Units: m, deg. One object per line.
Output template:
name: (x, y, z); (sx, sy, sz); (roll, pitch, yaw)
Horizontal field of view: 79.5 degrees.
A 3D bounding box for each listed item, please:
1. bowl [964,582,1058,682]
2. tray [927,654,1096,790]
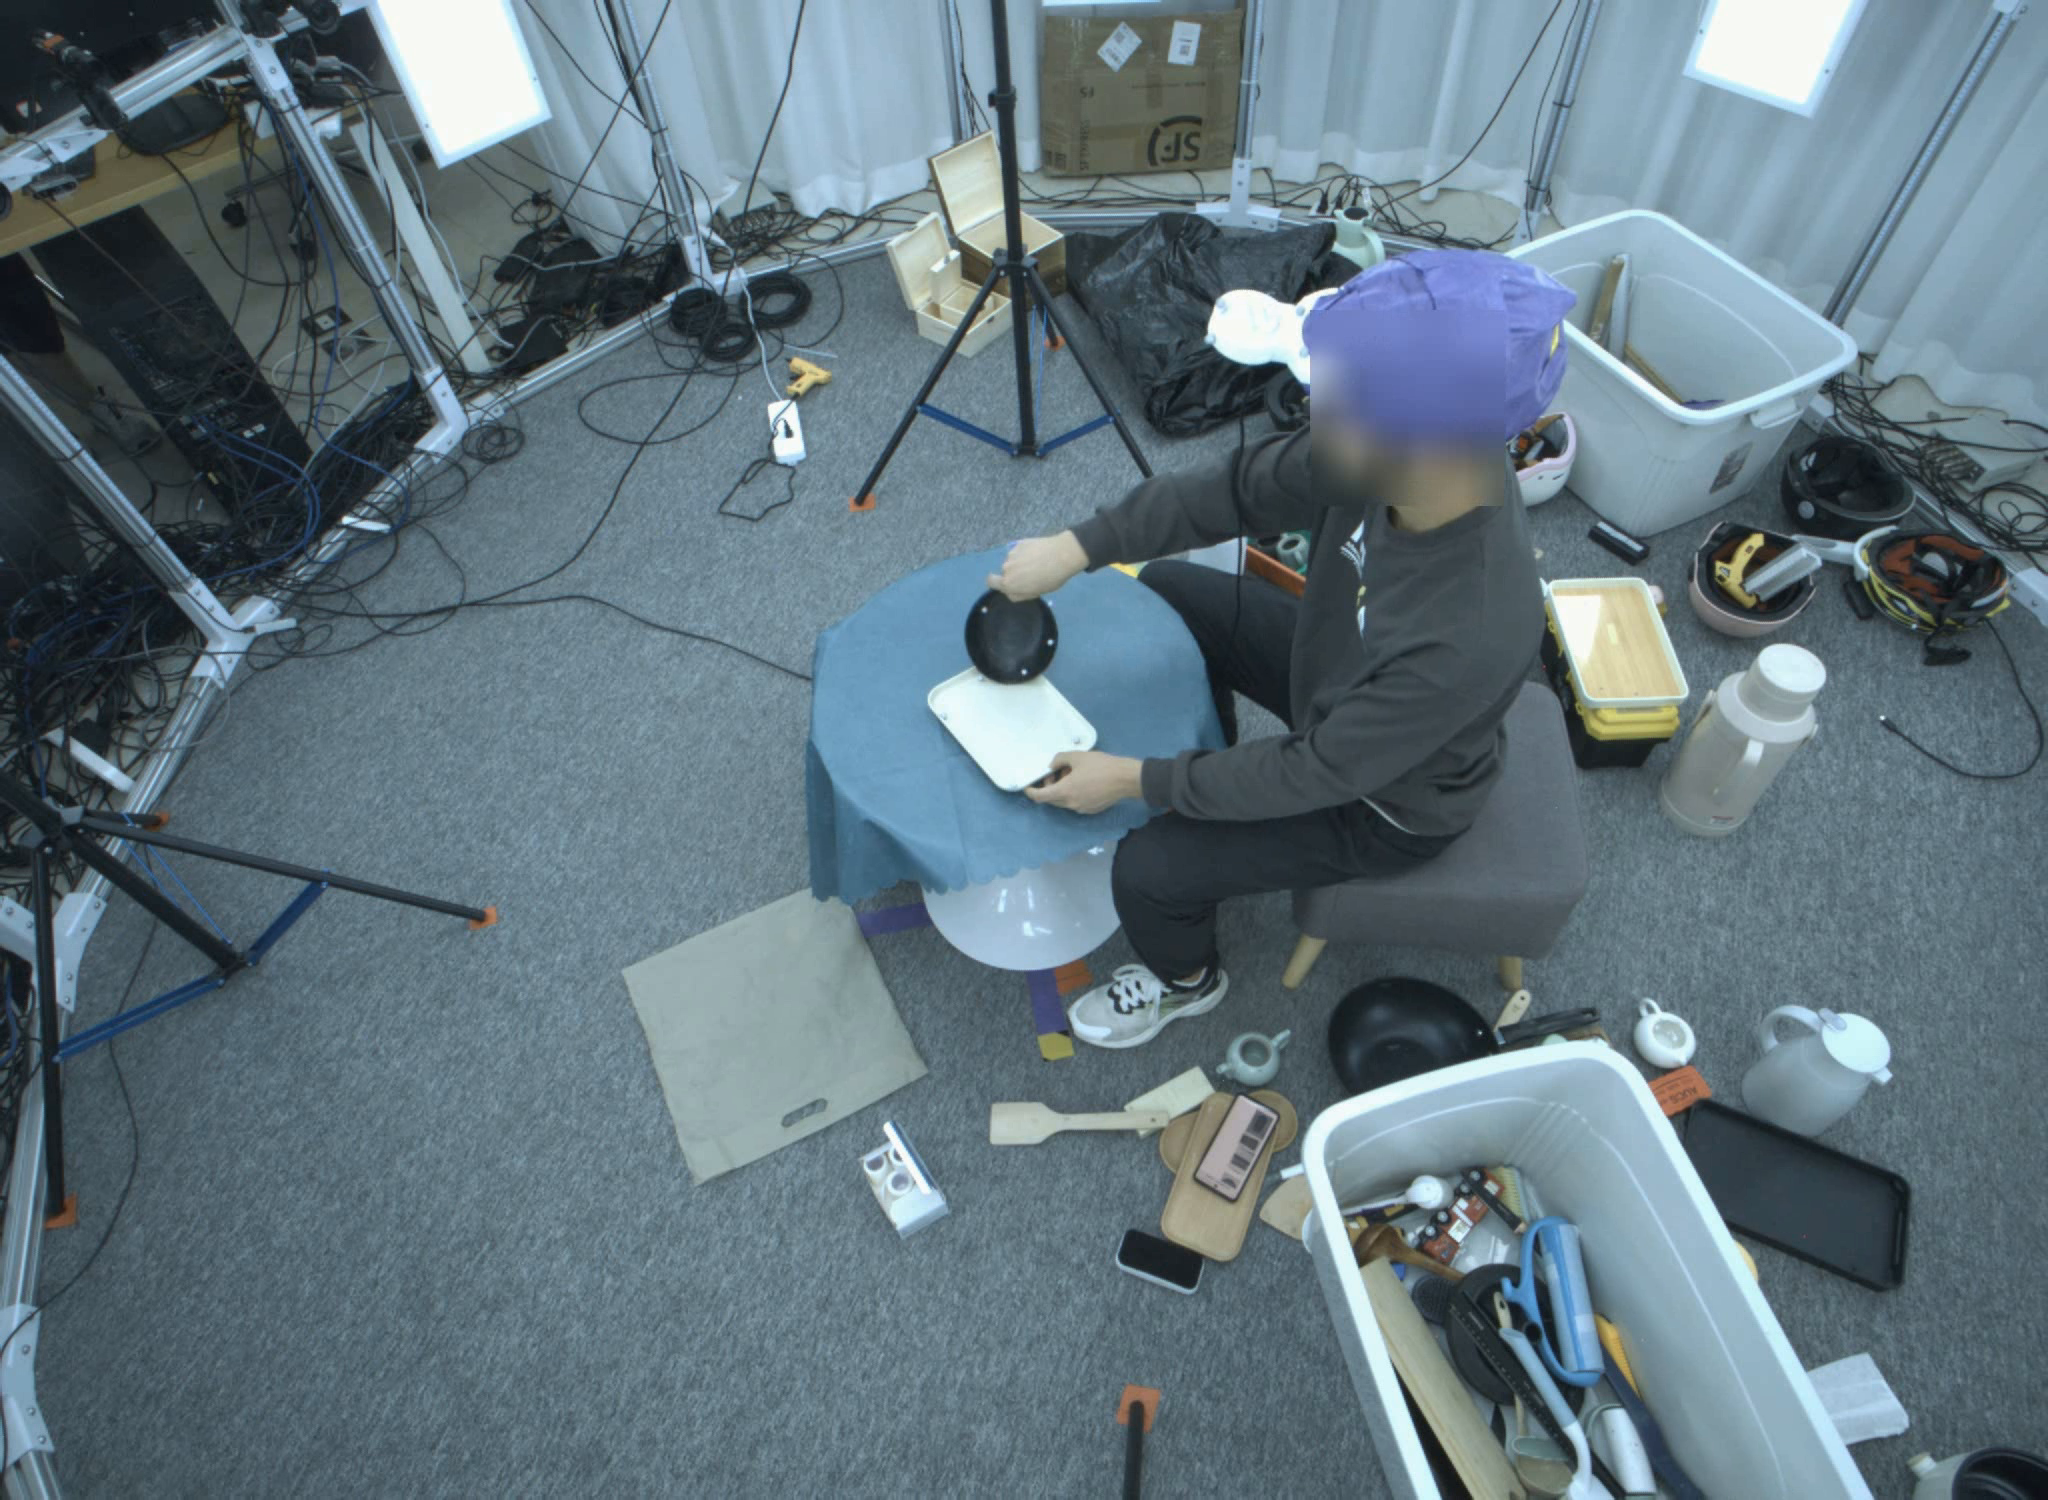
bowl: (-0.018, -0.180, 1.815); (0.137, 0.172, 0.066); (2, 36, 0)
tray: (-0.020, -0.044, 1.798); (0.173, 0.017, 0.235); (-28, 55, -20)
